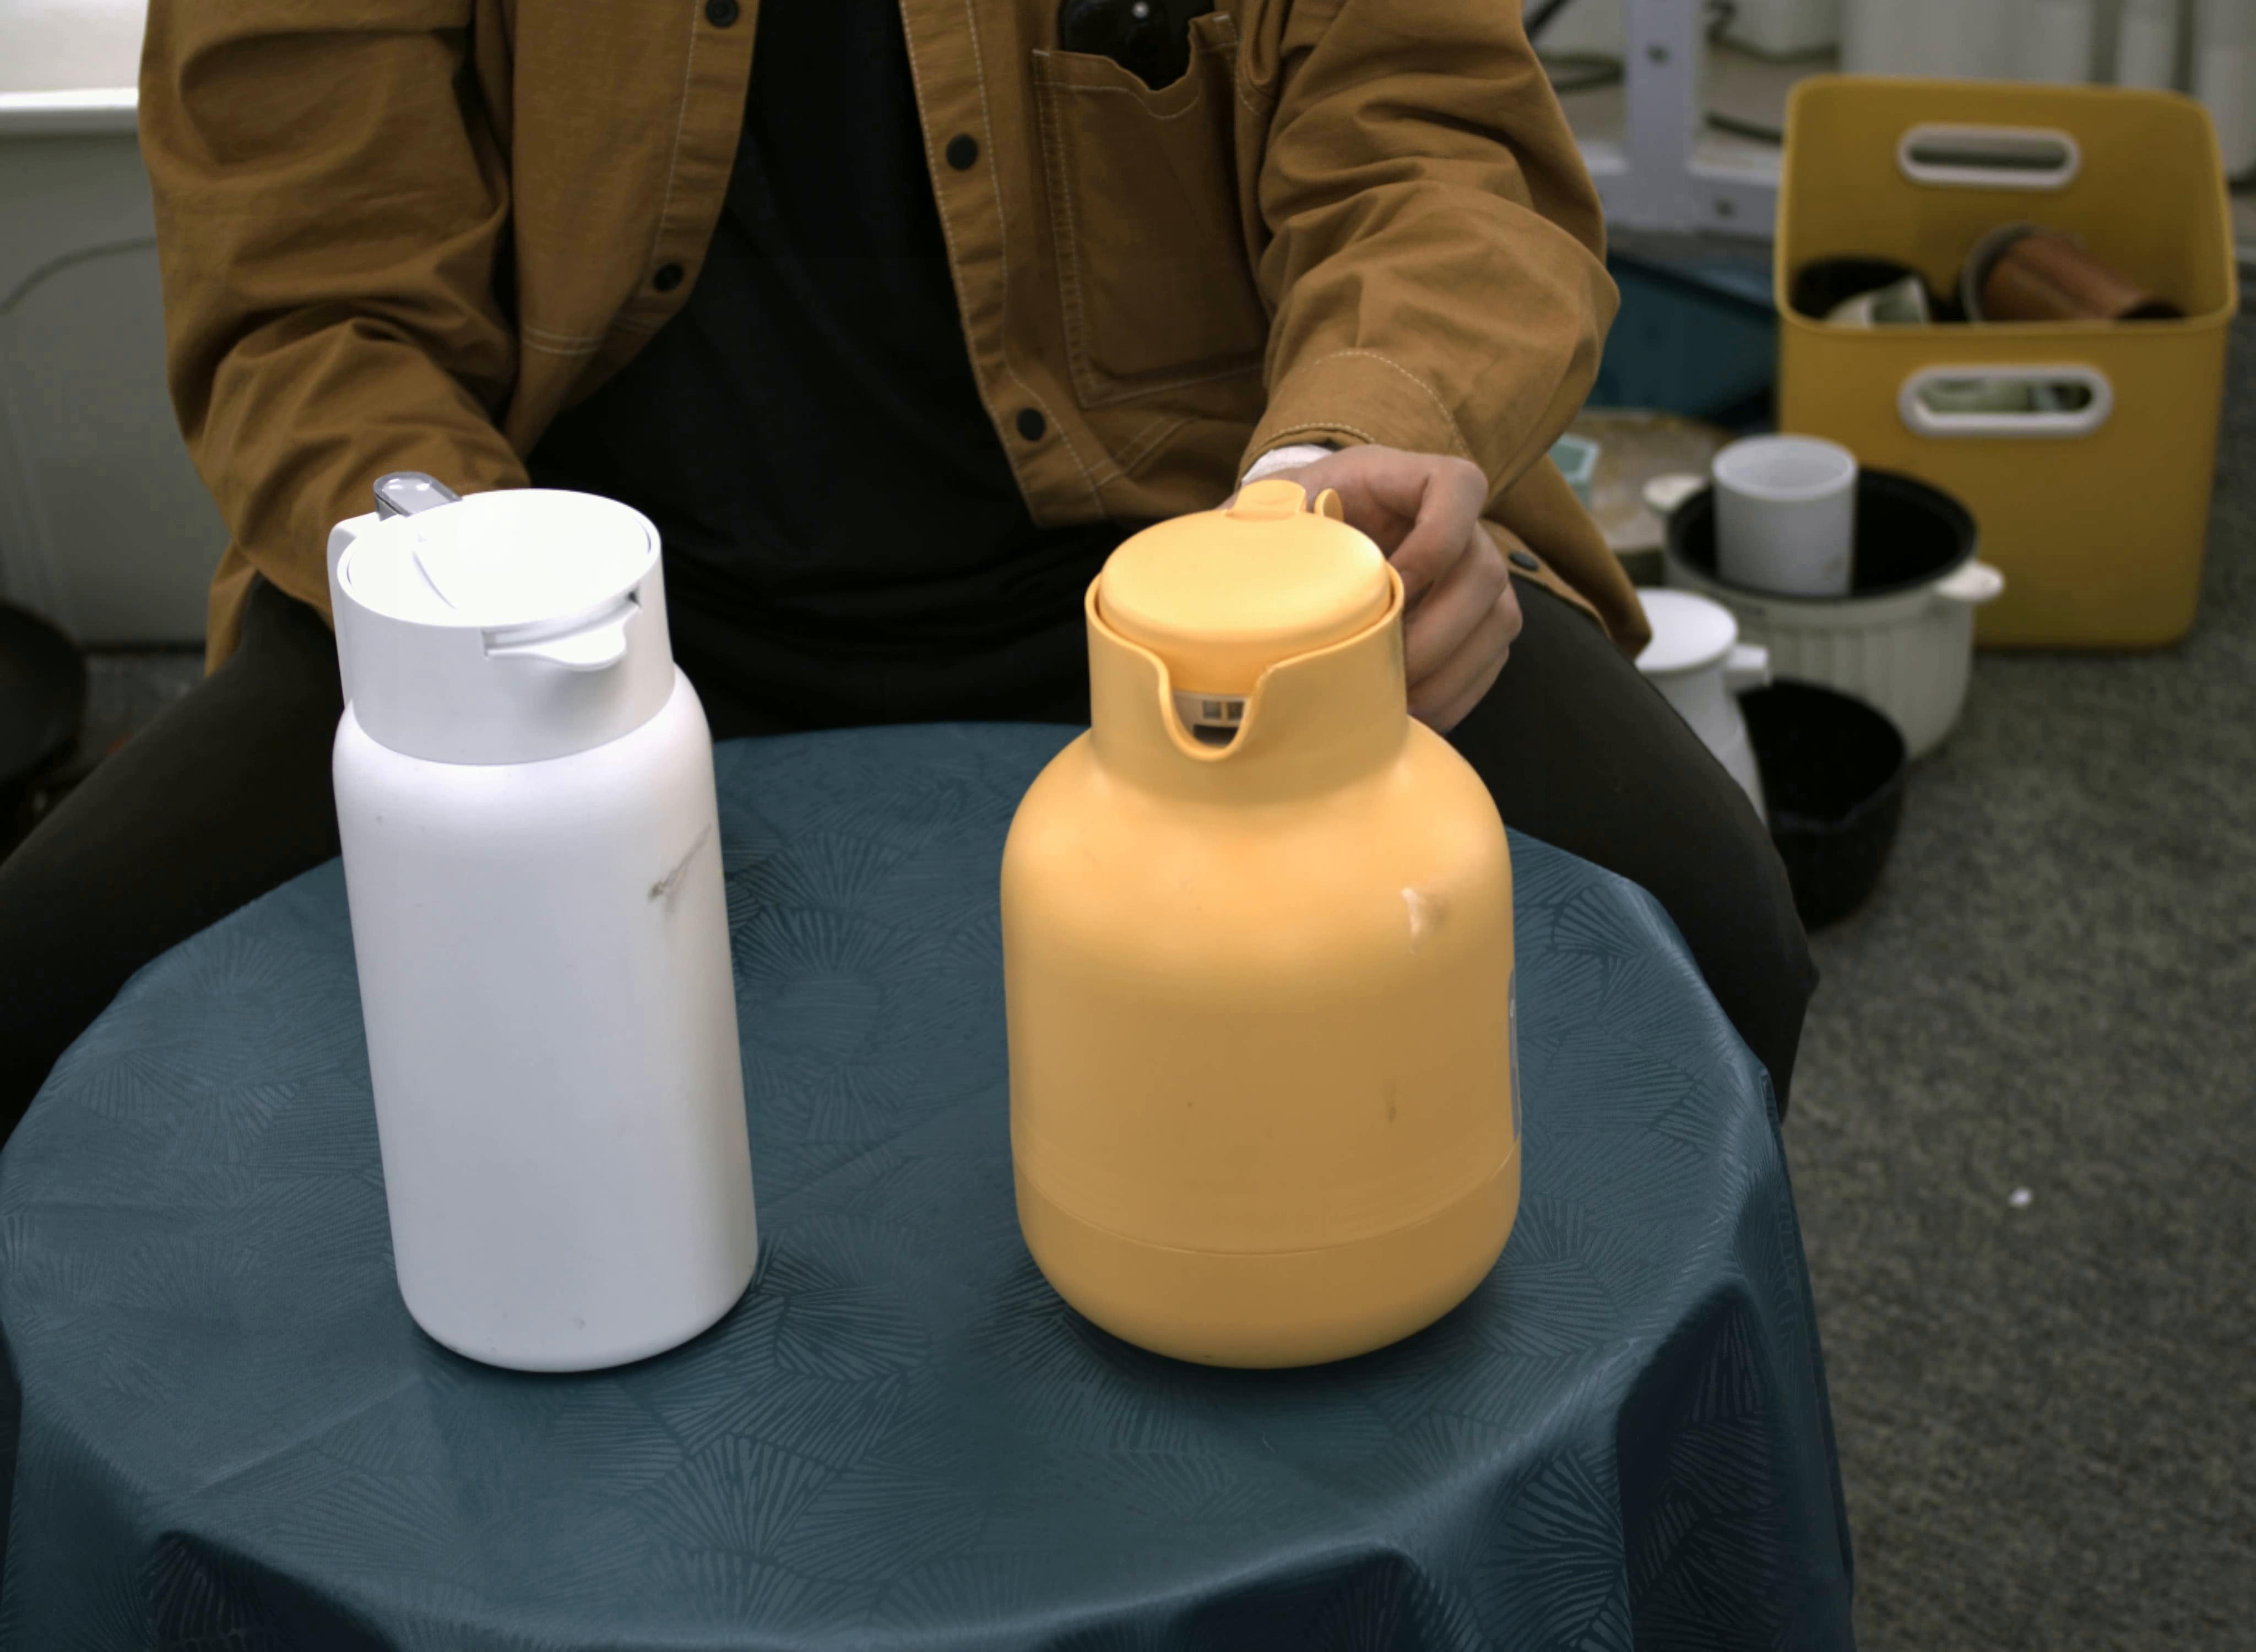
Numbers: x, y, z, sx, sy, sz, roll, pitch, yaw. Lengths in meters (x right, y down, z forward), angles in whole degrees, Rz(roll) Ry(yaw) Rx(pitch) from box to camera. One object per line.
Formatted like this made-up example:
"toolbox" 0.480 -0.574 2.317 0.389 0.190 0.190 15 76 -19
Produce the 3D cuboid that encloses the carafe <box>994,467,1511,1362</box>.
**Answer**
"carafe" 0.044 0.018 1.771 0.162 0.257 0.206 6 29 11

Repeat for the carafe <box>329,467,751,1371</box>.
"carafe" -0.195 0.026 1.776 0.125 0.266 0.173 -20 31 -27
